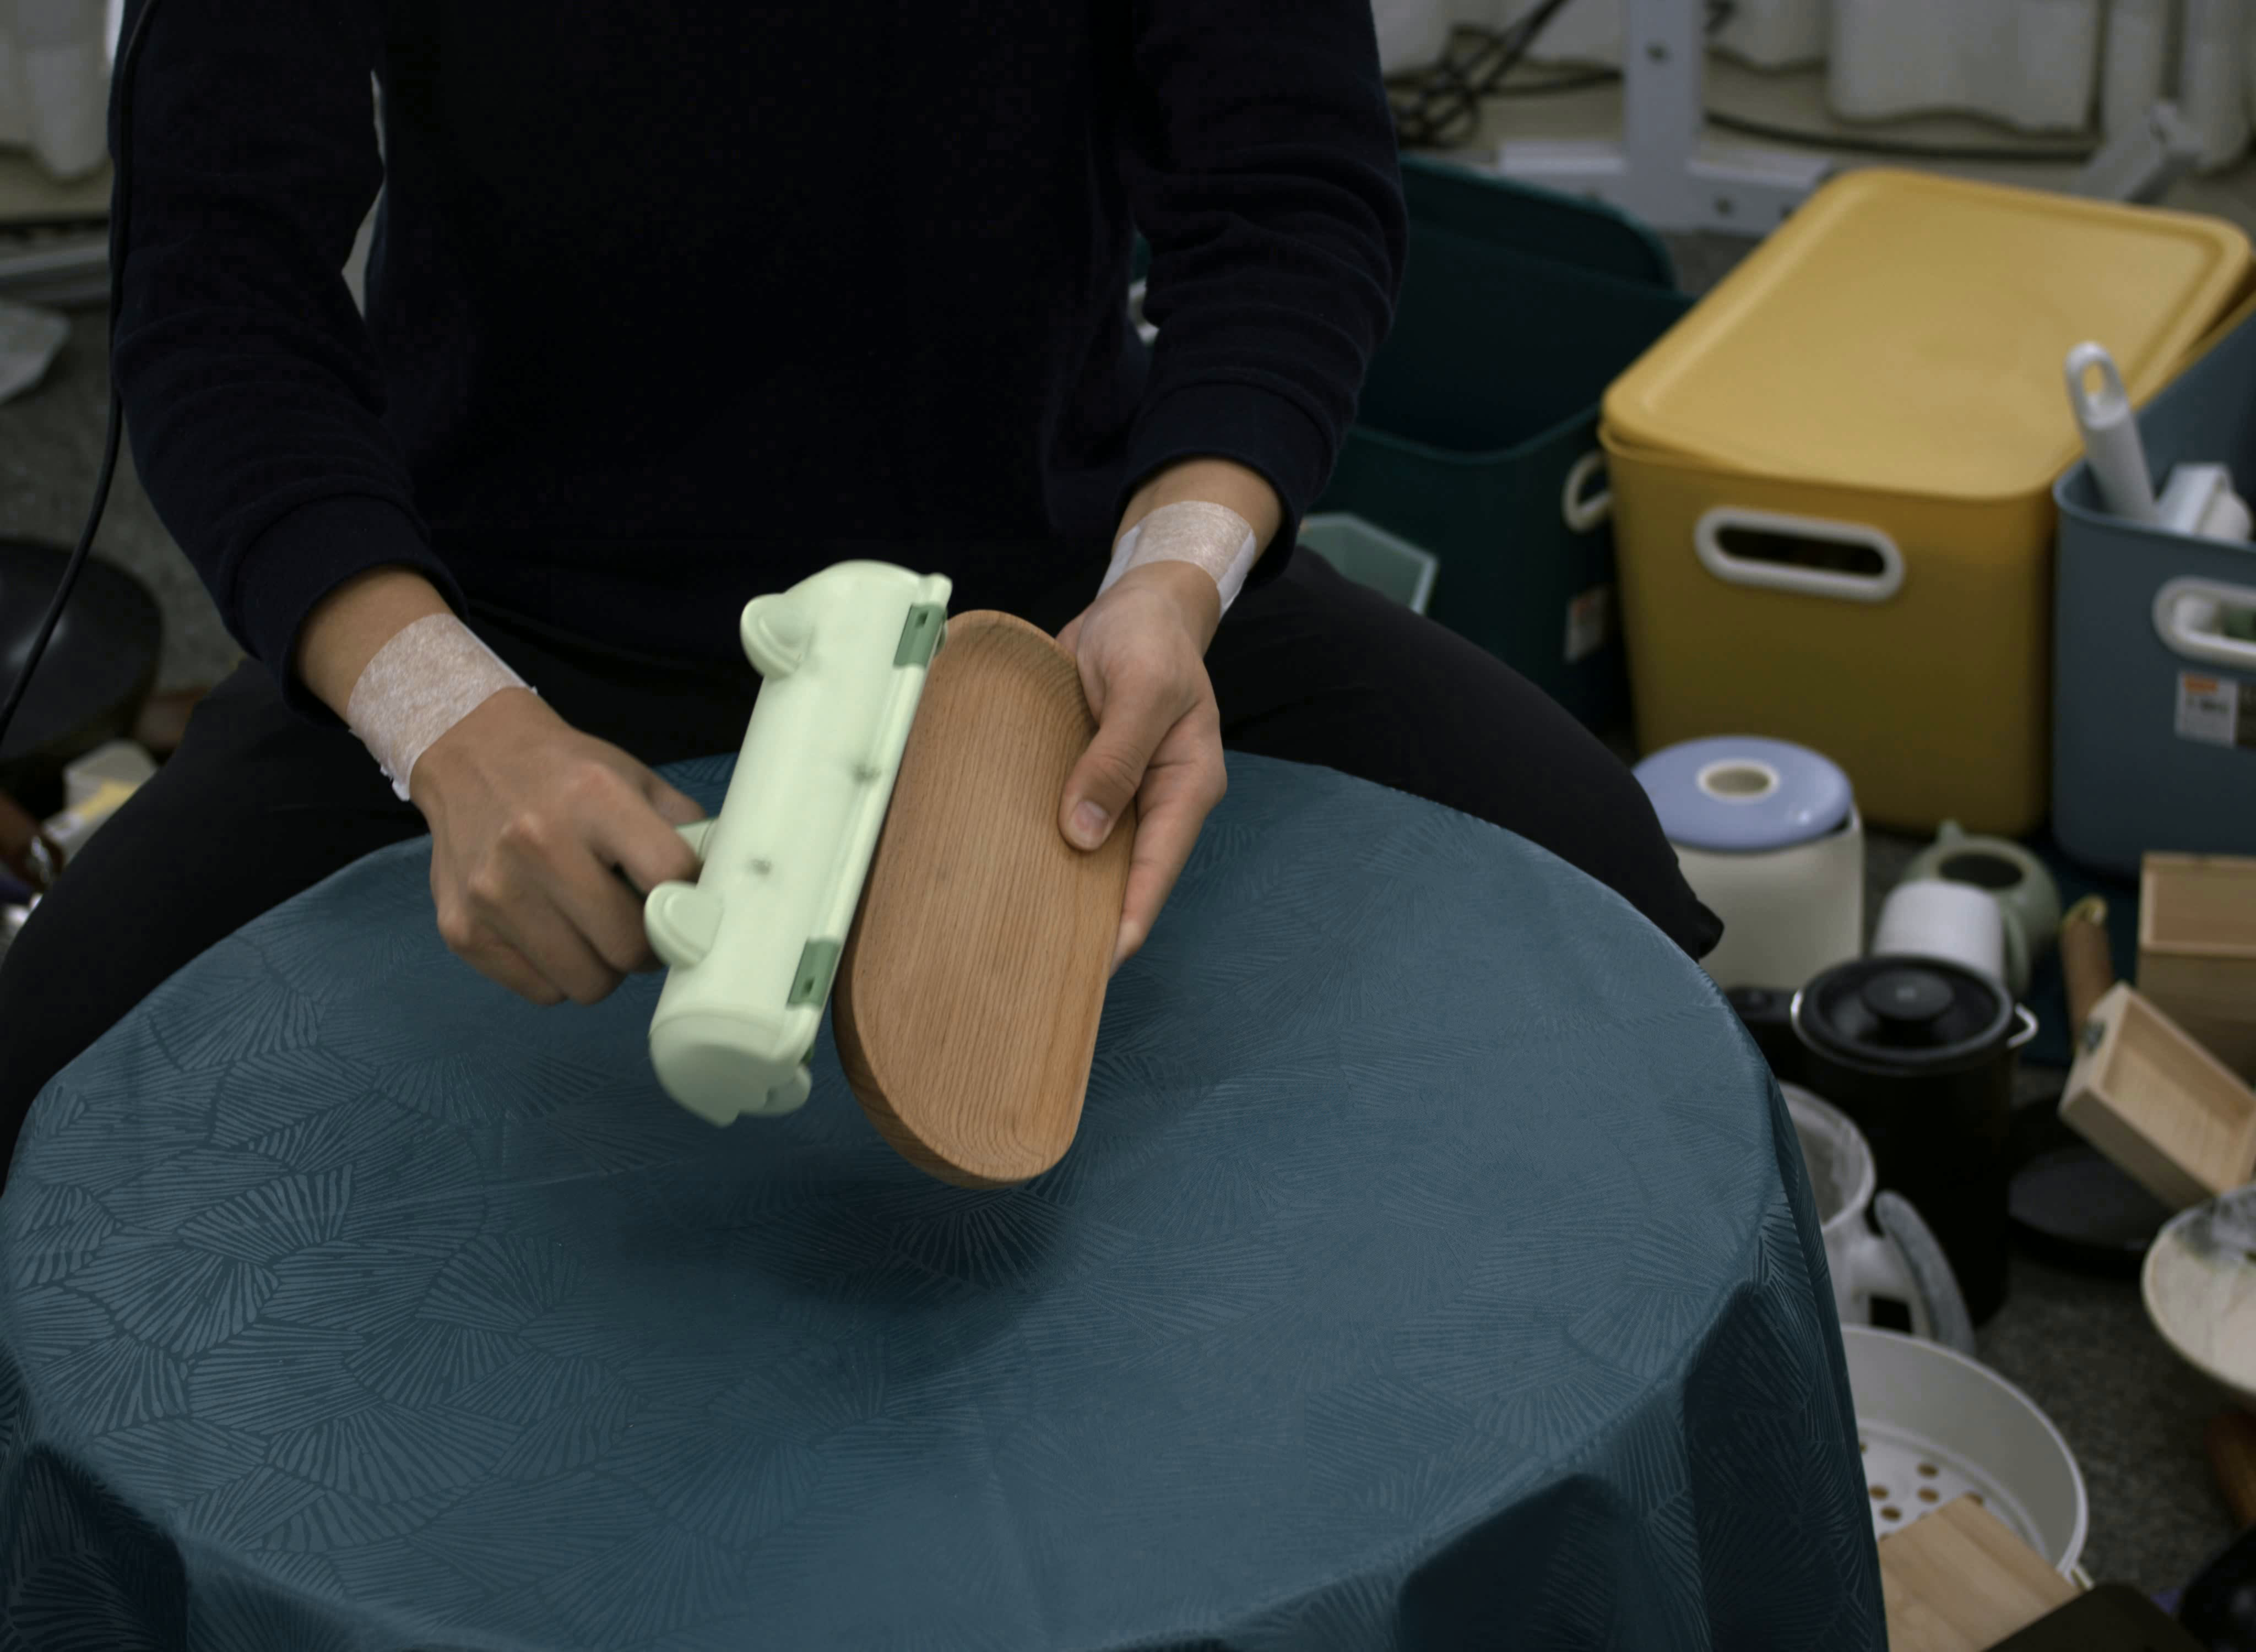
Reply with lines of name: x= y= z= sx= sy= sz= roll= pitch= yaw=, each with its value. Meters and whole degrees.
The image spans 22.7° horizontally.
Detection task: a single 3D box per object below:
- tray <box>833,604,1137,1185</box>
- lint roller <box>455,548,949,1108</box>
tray: x=-0.047 y=0.021 z=1.856 sx=0.020 sy=0.101 sz=0.236 roll=-31 pitch=33 yaw=34
lint roller: x=-0.156 y=0.000 z=1.830 sx=0.181 sy=0.081 sz=0.203 roll=-7 pitch=48 yaw=26
